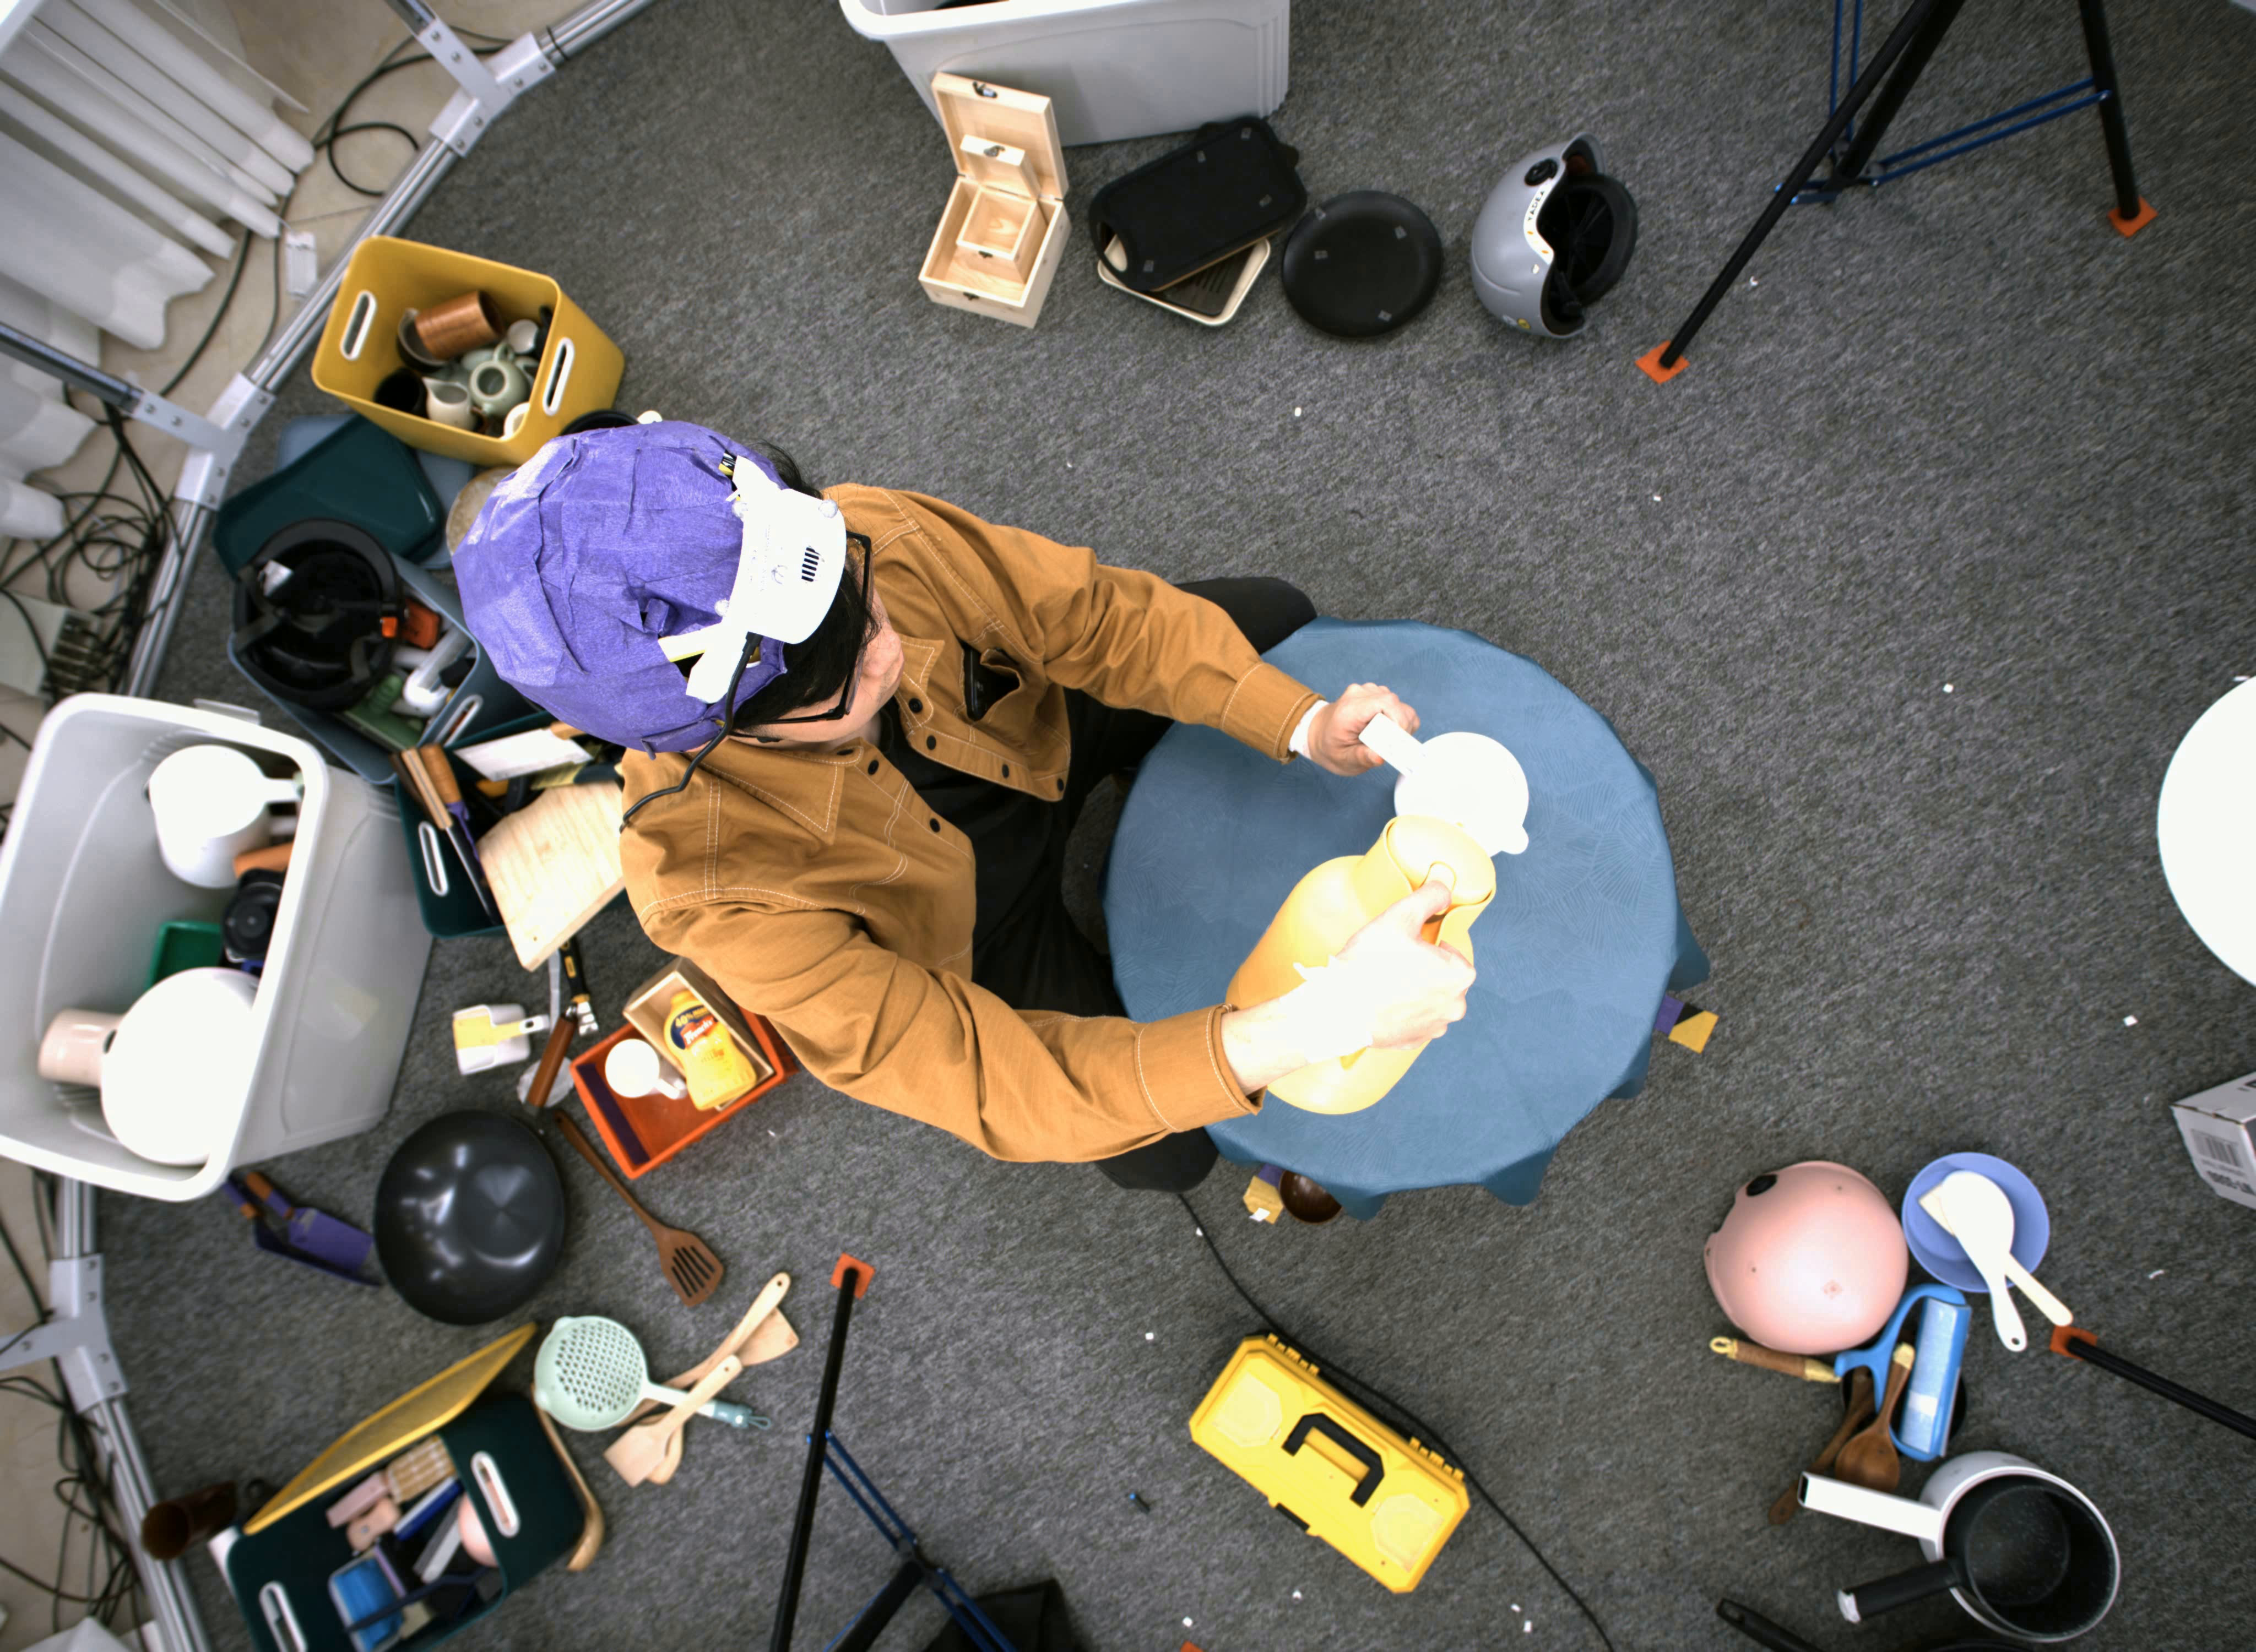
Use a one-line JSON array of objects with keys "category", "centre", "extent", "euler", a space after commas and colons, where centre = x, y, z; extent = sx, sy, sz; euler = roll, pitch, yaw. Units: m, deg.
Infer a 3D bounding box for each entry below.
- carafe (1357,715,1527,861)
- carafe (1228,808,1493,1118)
[{"category": "carafe", "centre": [0.293, -0.037, 1.281], "extent": [0.172, 0.266, 0.125], "euler": [39, 102, 9]}, {"category": "carafe", "centre": [0.188, 0.116, 1.104], "extent": [0.163, 0.197, 0.267], "euler": [27, 129, 4]}]
